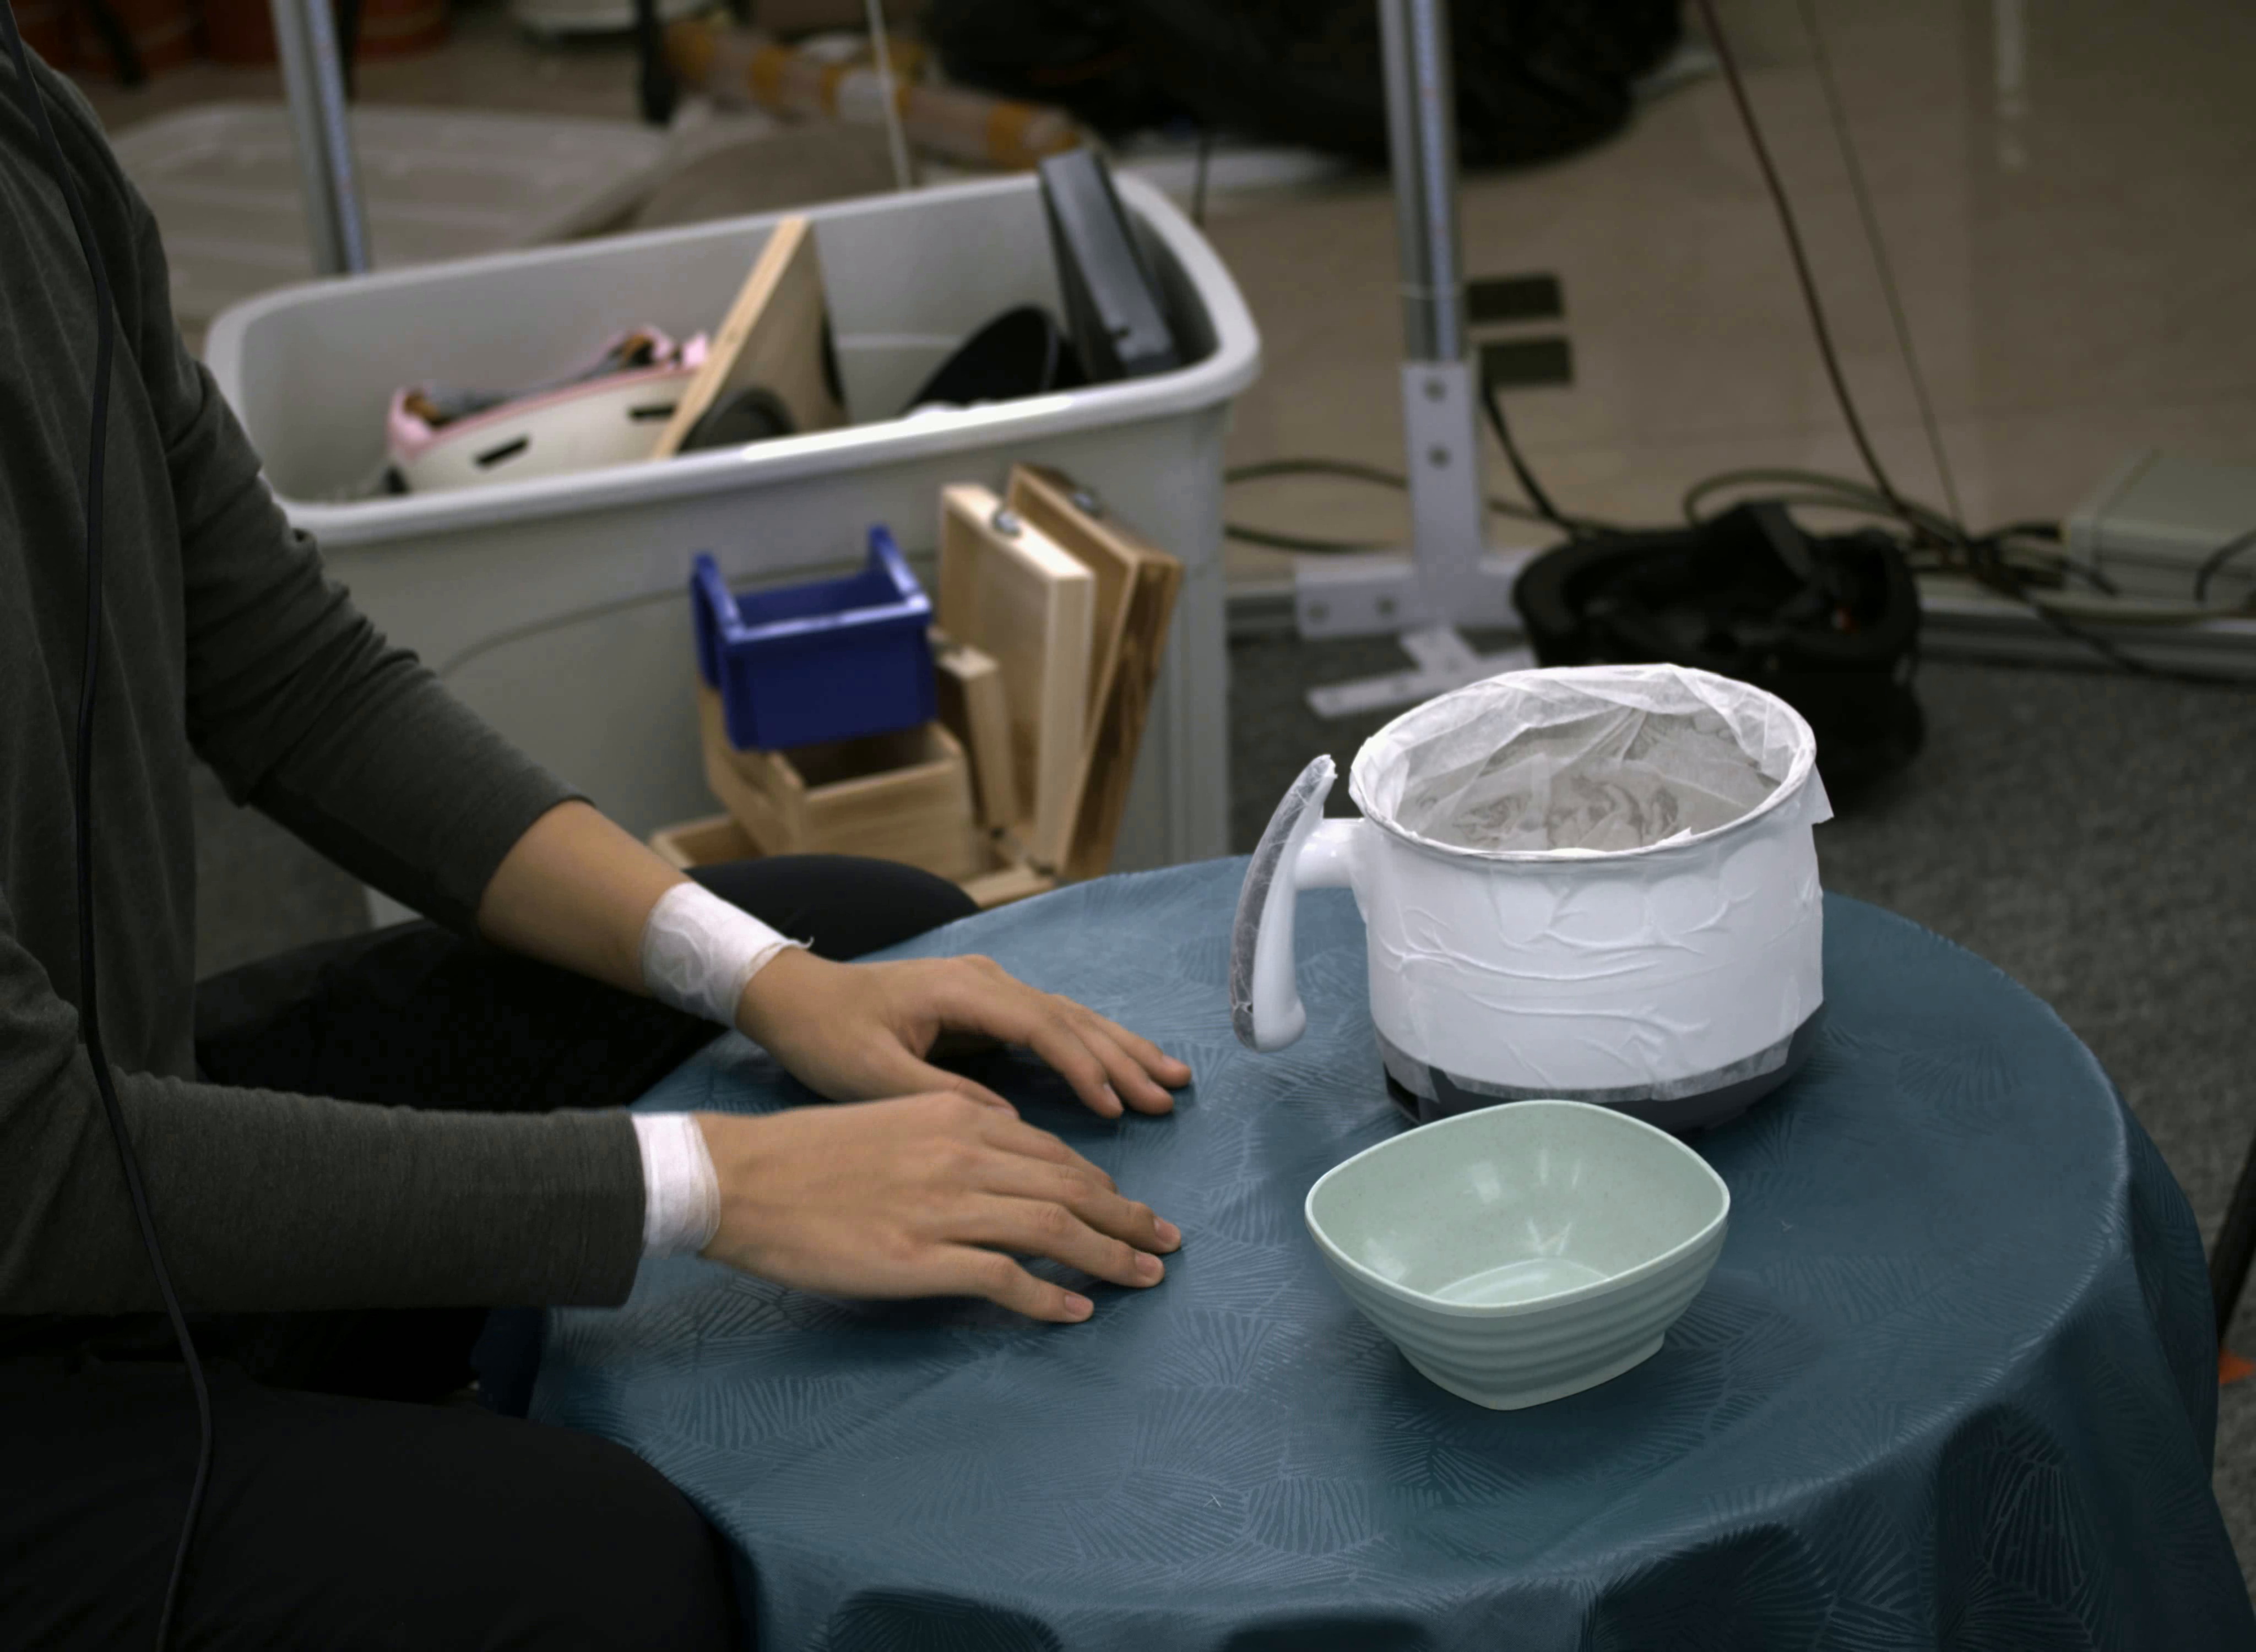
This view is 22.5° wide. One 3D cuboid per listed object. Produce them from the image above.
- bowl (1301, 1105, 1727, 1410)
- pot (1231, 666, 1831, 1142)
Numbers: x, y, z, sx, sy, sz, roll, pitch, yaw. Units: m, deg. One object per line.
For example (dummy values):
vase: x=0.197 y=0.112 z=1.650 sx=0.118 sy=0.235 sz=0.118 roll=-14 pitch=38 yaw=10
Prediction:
bowl: x=0.137 y=0.158 z=2.008 sx=0.151 sy=0.059 sz=0.149 roll=-4 pitch=25 yaw=2
pot: x=0.152 y=0.034 z=2.178 sx=0.233 sy=0.139 sz=0.176 roll=-3 pitch=26 yaw=9
